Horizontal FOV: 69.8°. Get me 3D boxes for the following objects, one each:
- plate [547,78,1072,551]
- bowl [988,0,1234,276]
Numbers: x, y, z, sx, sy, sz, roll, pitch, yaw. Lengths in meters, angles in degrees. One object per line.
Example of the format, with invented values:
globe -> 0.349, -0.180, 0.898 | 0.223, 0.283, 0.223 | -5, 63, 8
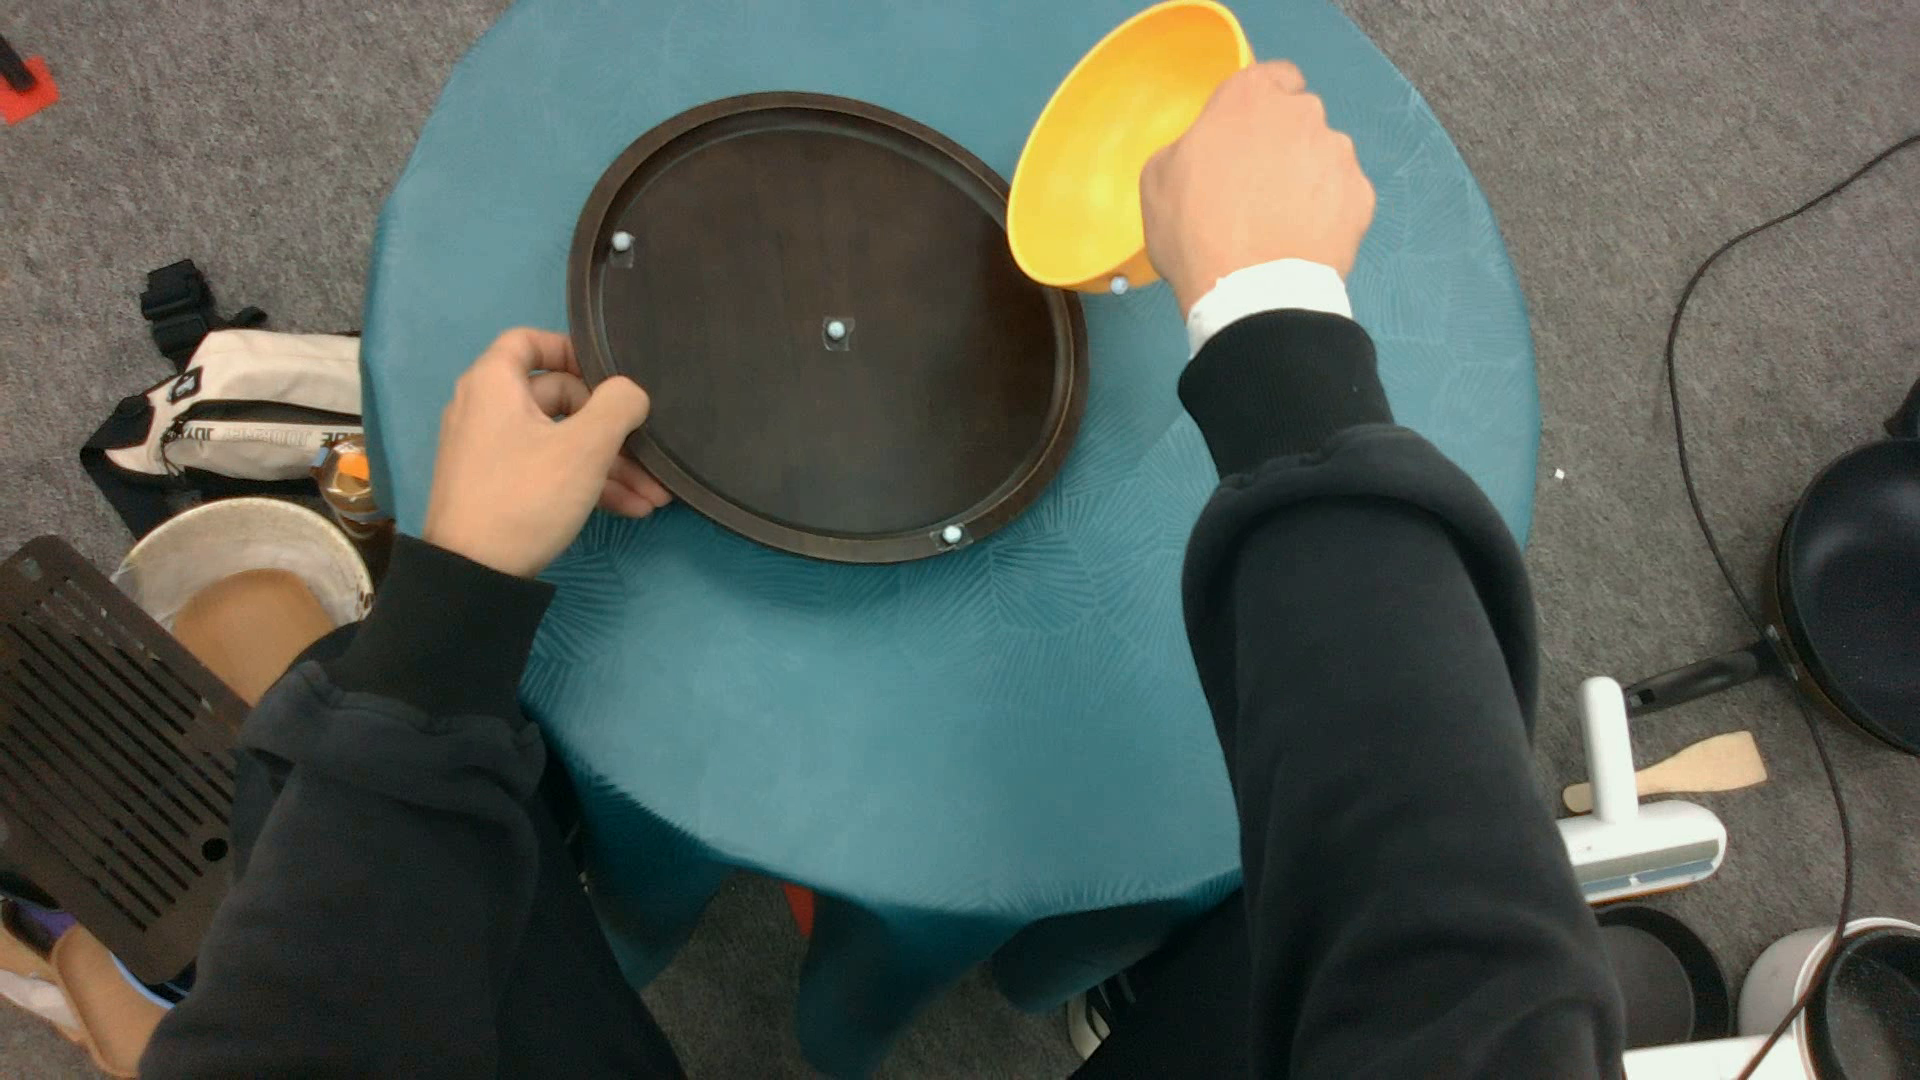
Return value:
plate -> -0.066, -0.112, 0.658 | 0.255, 0.029, 0.255 | 8, 68, -19
bowl -> 0.082, -0.185, 0.659 | 0.060, 0.145, 0.146 | 22, 65, -36
